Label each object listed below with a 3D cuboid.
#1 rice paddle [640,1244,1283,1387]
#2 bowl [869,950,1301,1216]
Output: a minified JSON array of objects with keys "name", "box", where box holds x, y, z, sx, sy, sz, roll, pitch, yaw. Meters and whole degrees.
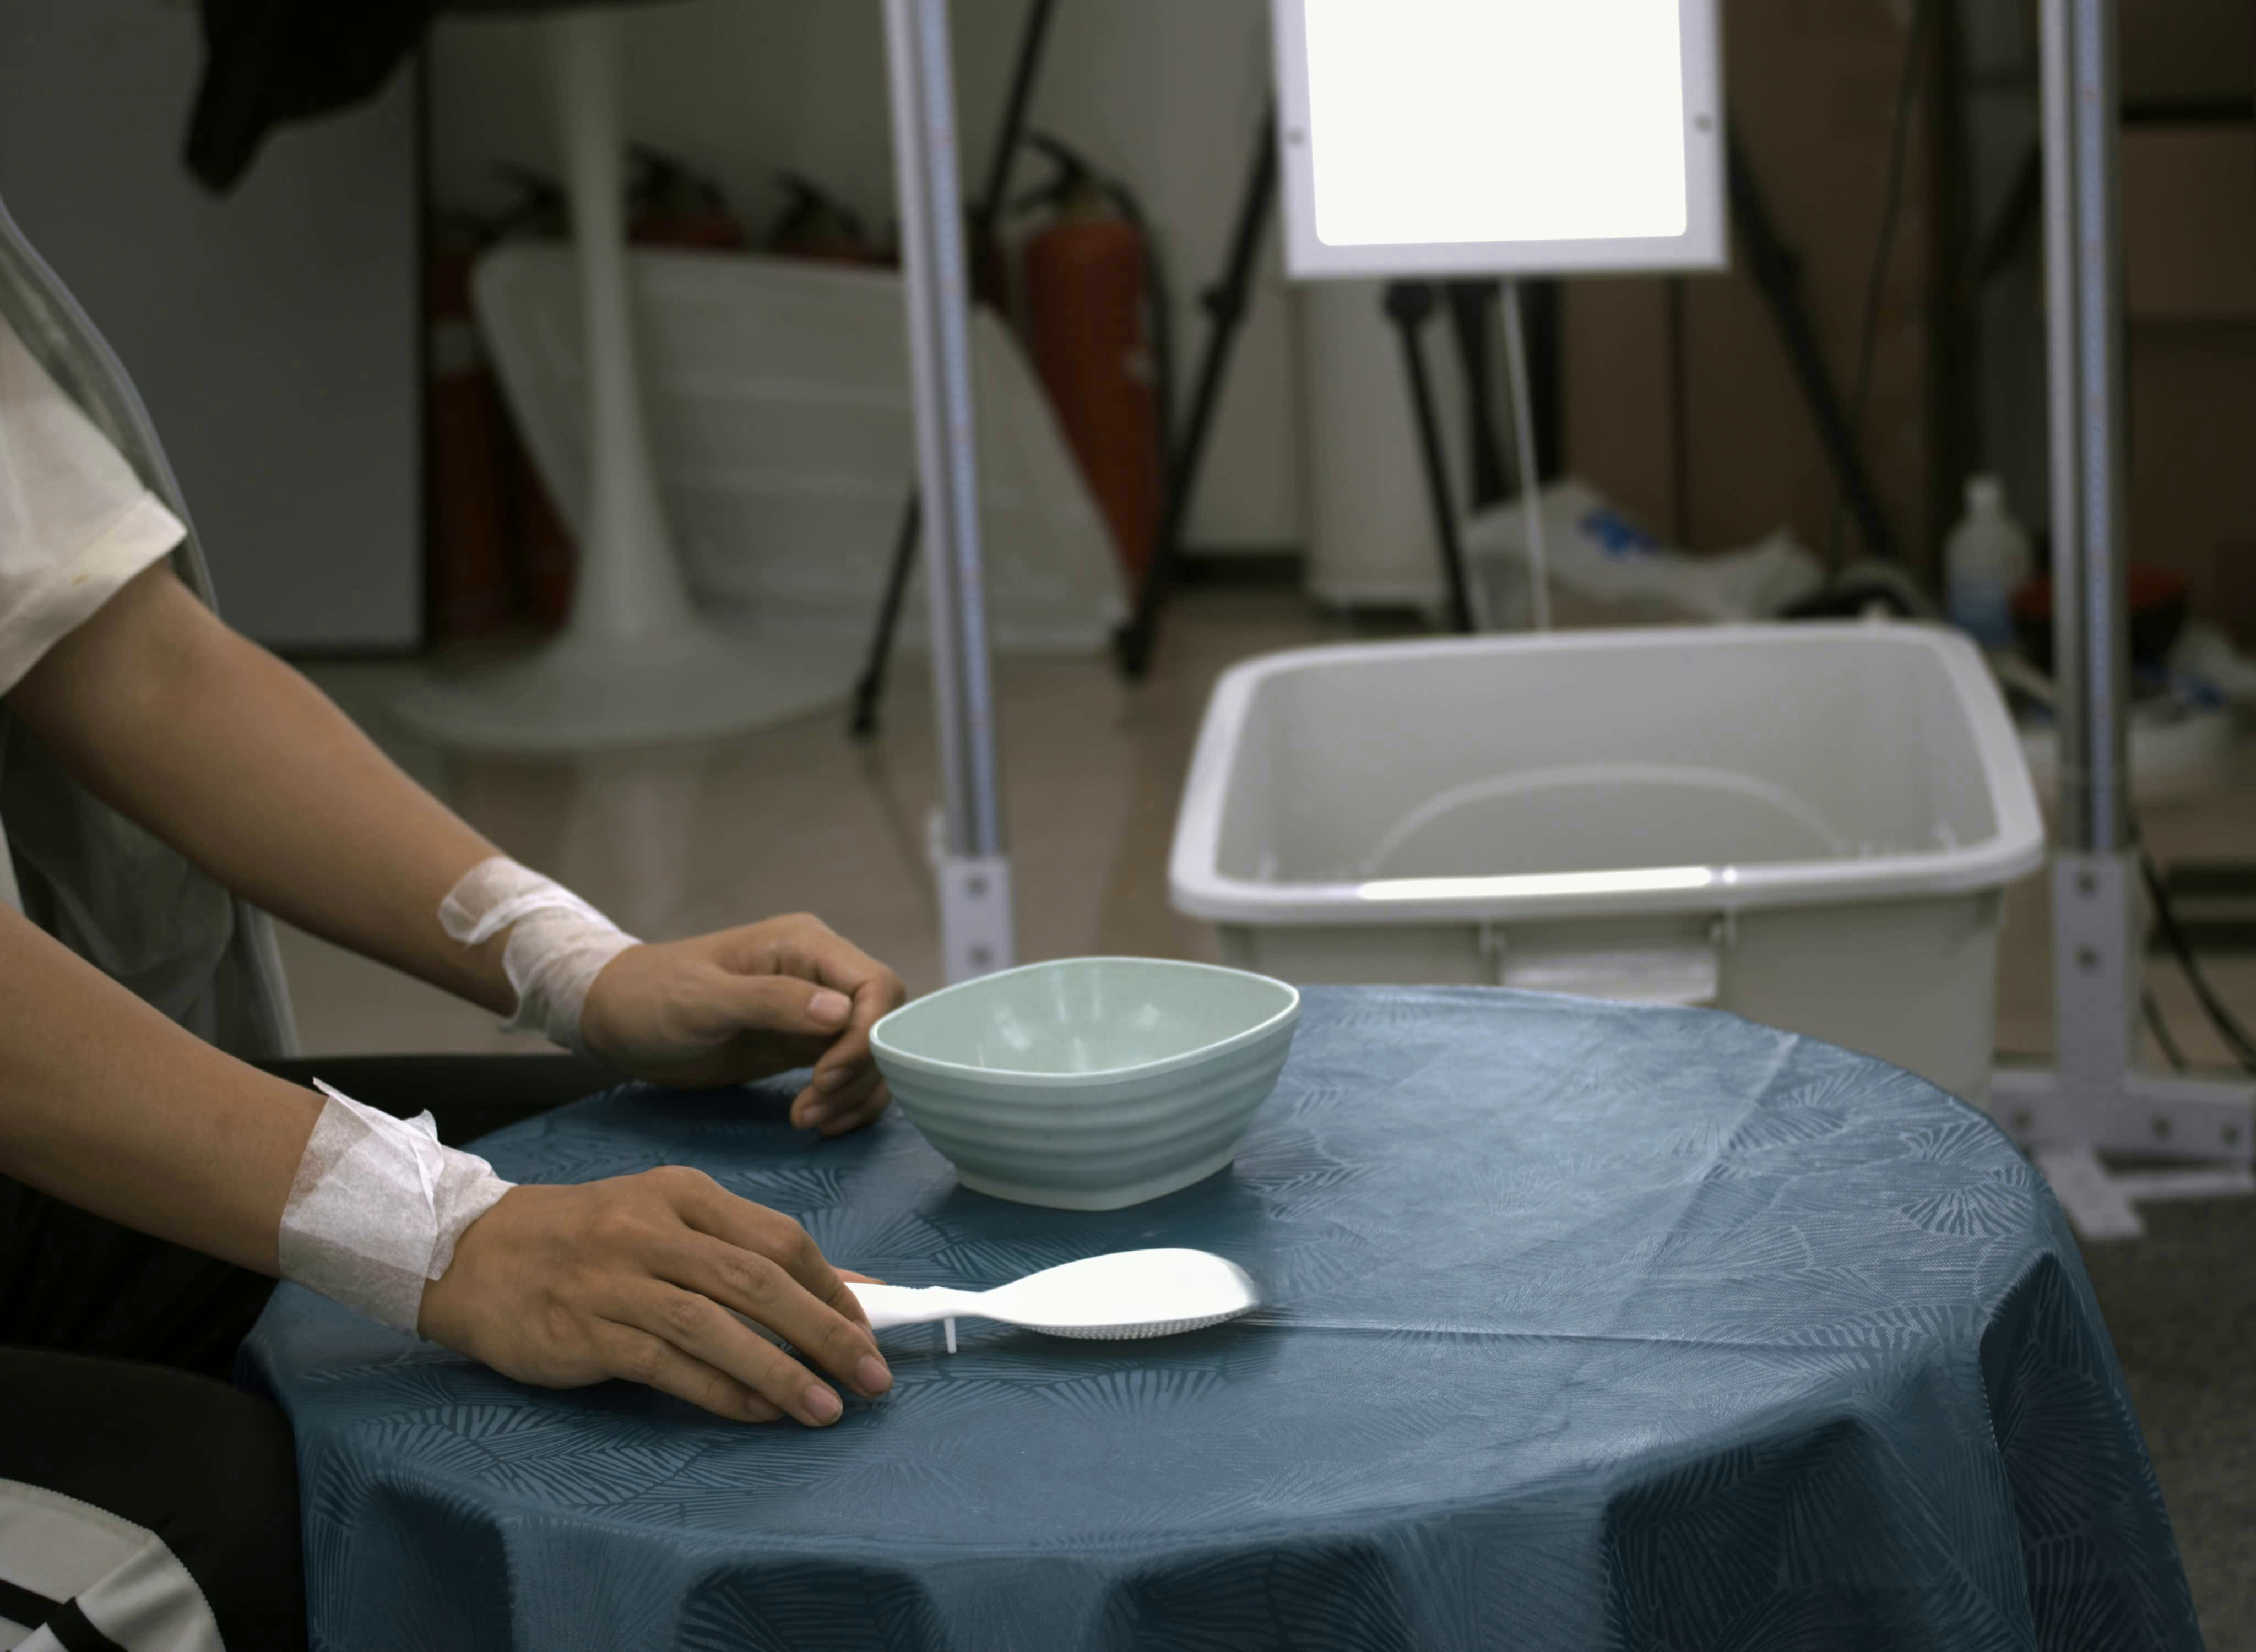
[{"name":"rice paddle","box":[-0.052,0.151,1.751,0.204,0.029,0.069,-6,15,-2]},{"name":"bowl","box":[-0.013,0.093,1.921,0.151,0.059,0.151,-4,16,0]}]
